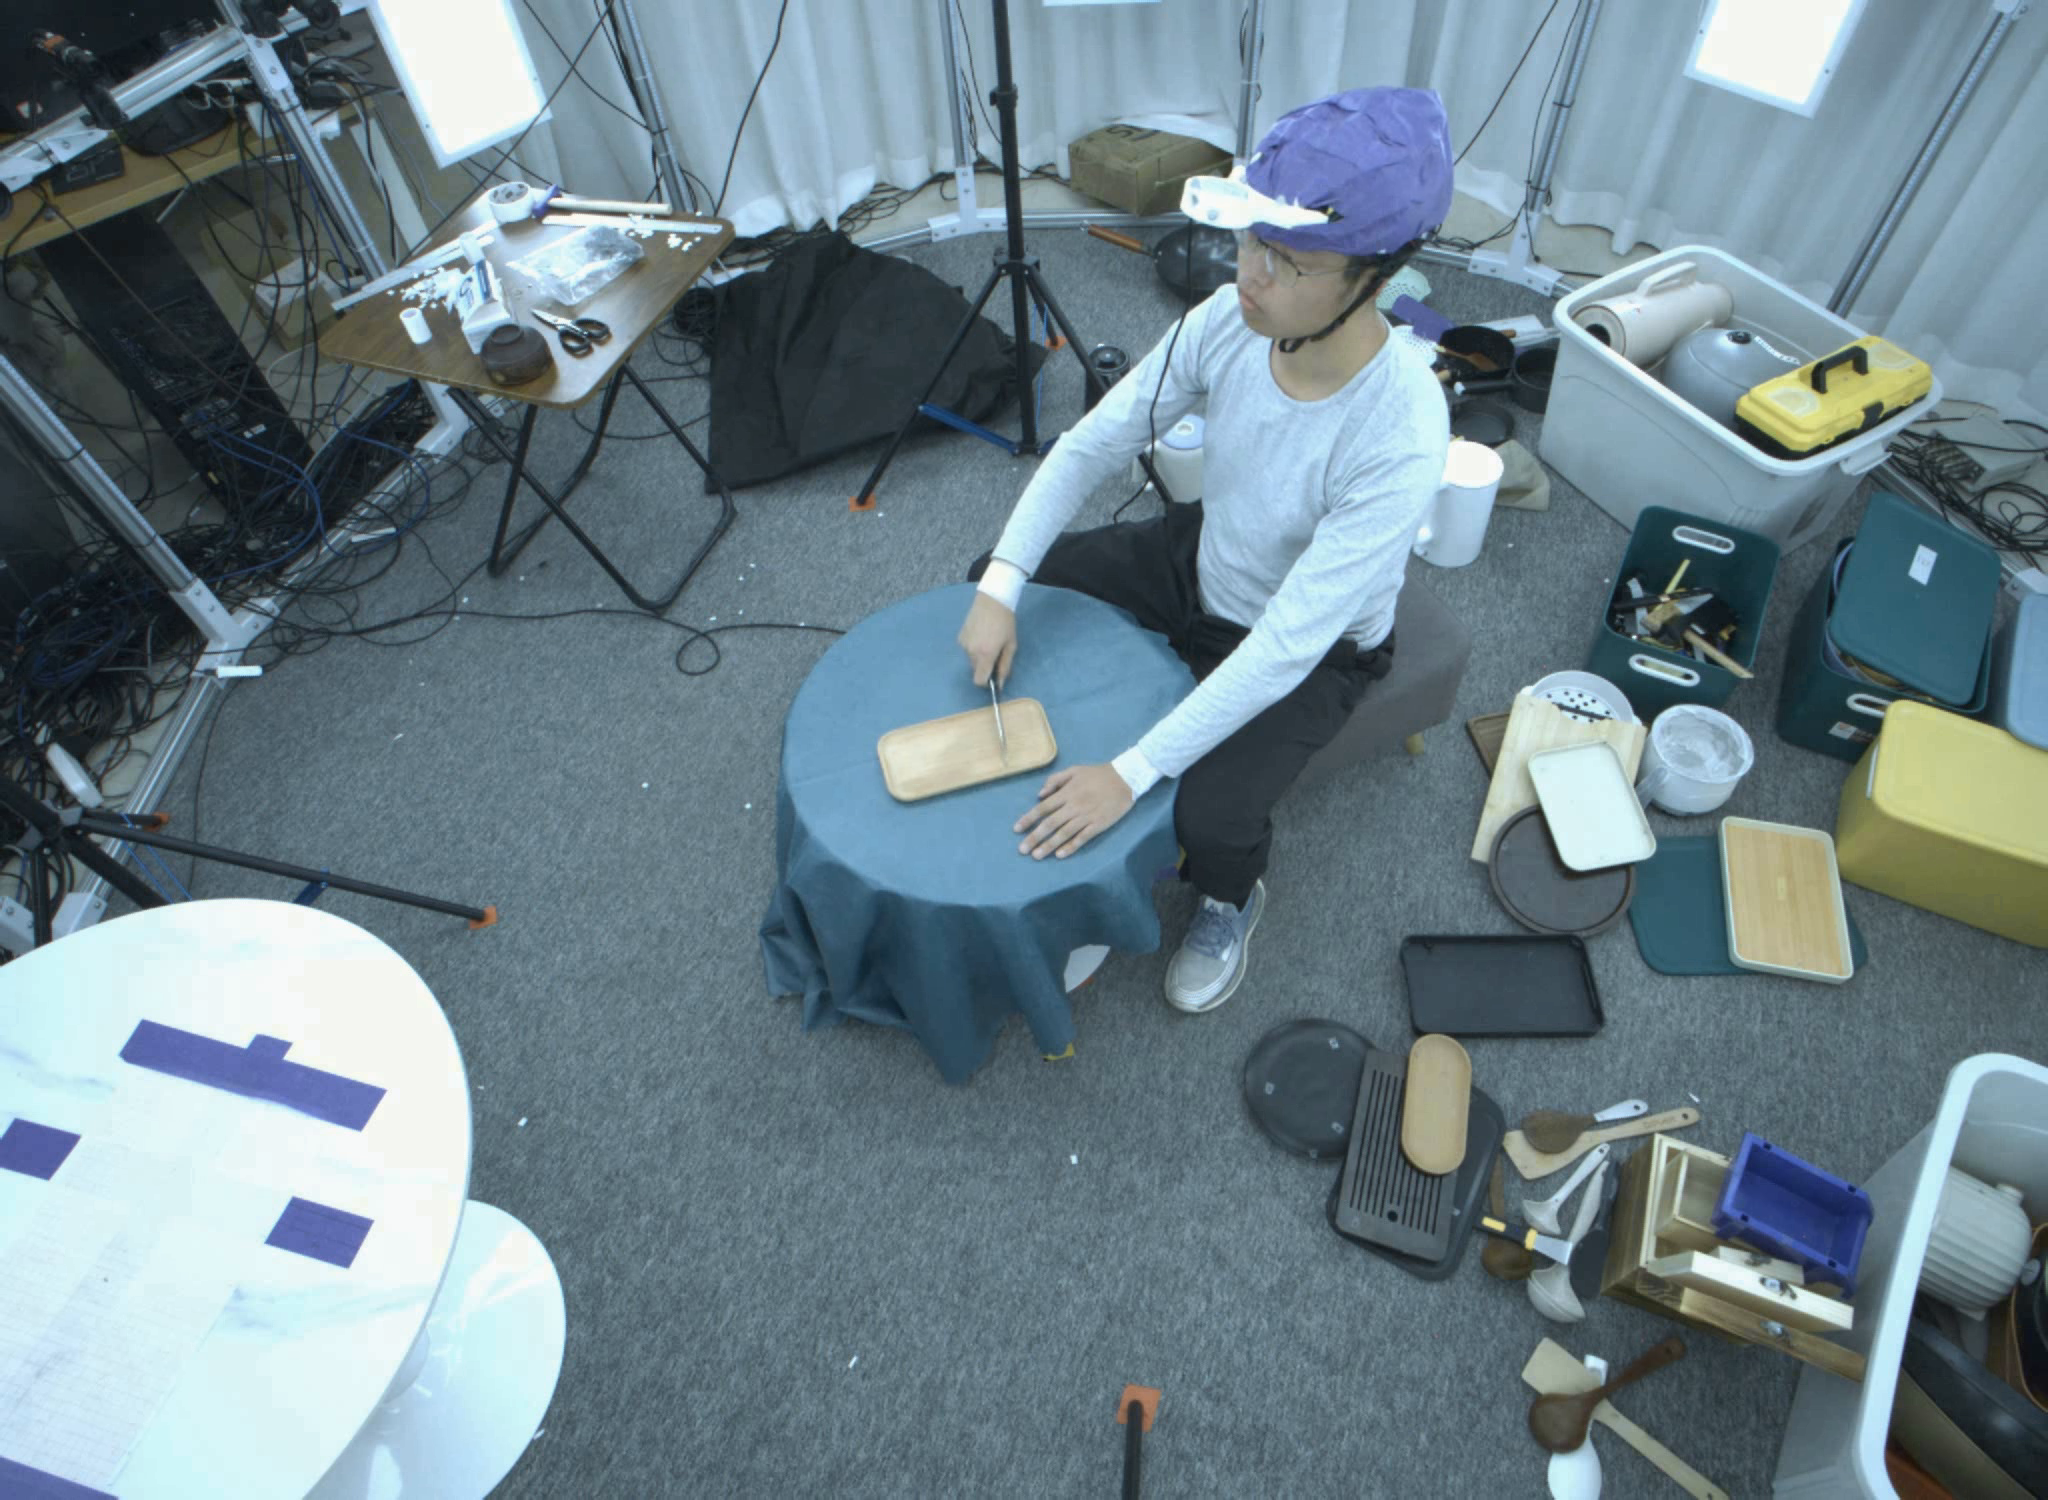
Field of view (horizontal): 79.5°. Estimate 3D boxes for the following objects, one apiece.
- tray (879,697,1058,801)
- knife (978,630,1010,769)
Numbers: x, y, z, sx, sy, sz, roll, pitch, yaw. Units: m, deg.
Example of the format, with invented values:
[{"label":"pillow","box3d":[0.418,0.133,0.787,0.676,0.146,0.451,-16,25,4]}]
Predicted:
[{"label":"tray","box3d":[-0.082,-0.002,1.788,0.252,0.023,0.128,-13,58,-9]},{"label":"knife","box3d":[-0.043,-0.079,1.816,0.016,0.025,0.235,-16,65,10]}]
